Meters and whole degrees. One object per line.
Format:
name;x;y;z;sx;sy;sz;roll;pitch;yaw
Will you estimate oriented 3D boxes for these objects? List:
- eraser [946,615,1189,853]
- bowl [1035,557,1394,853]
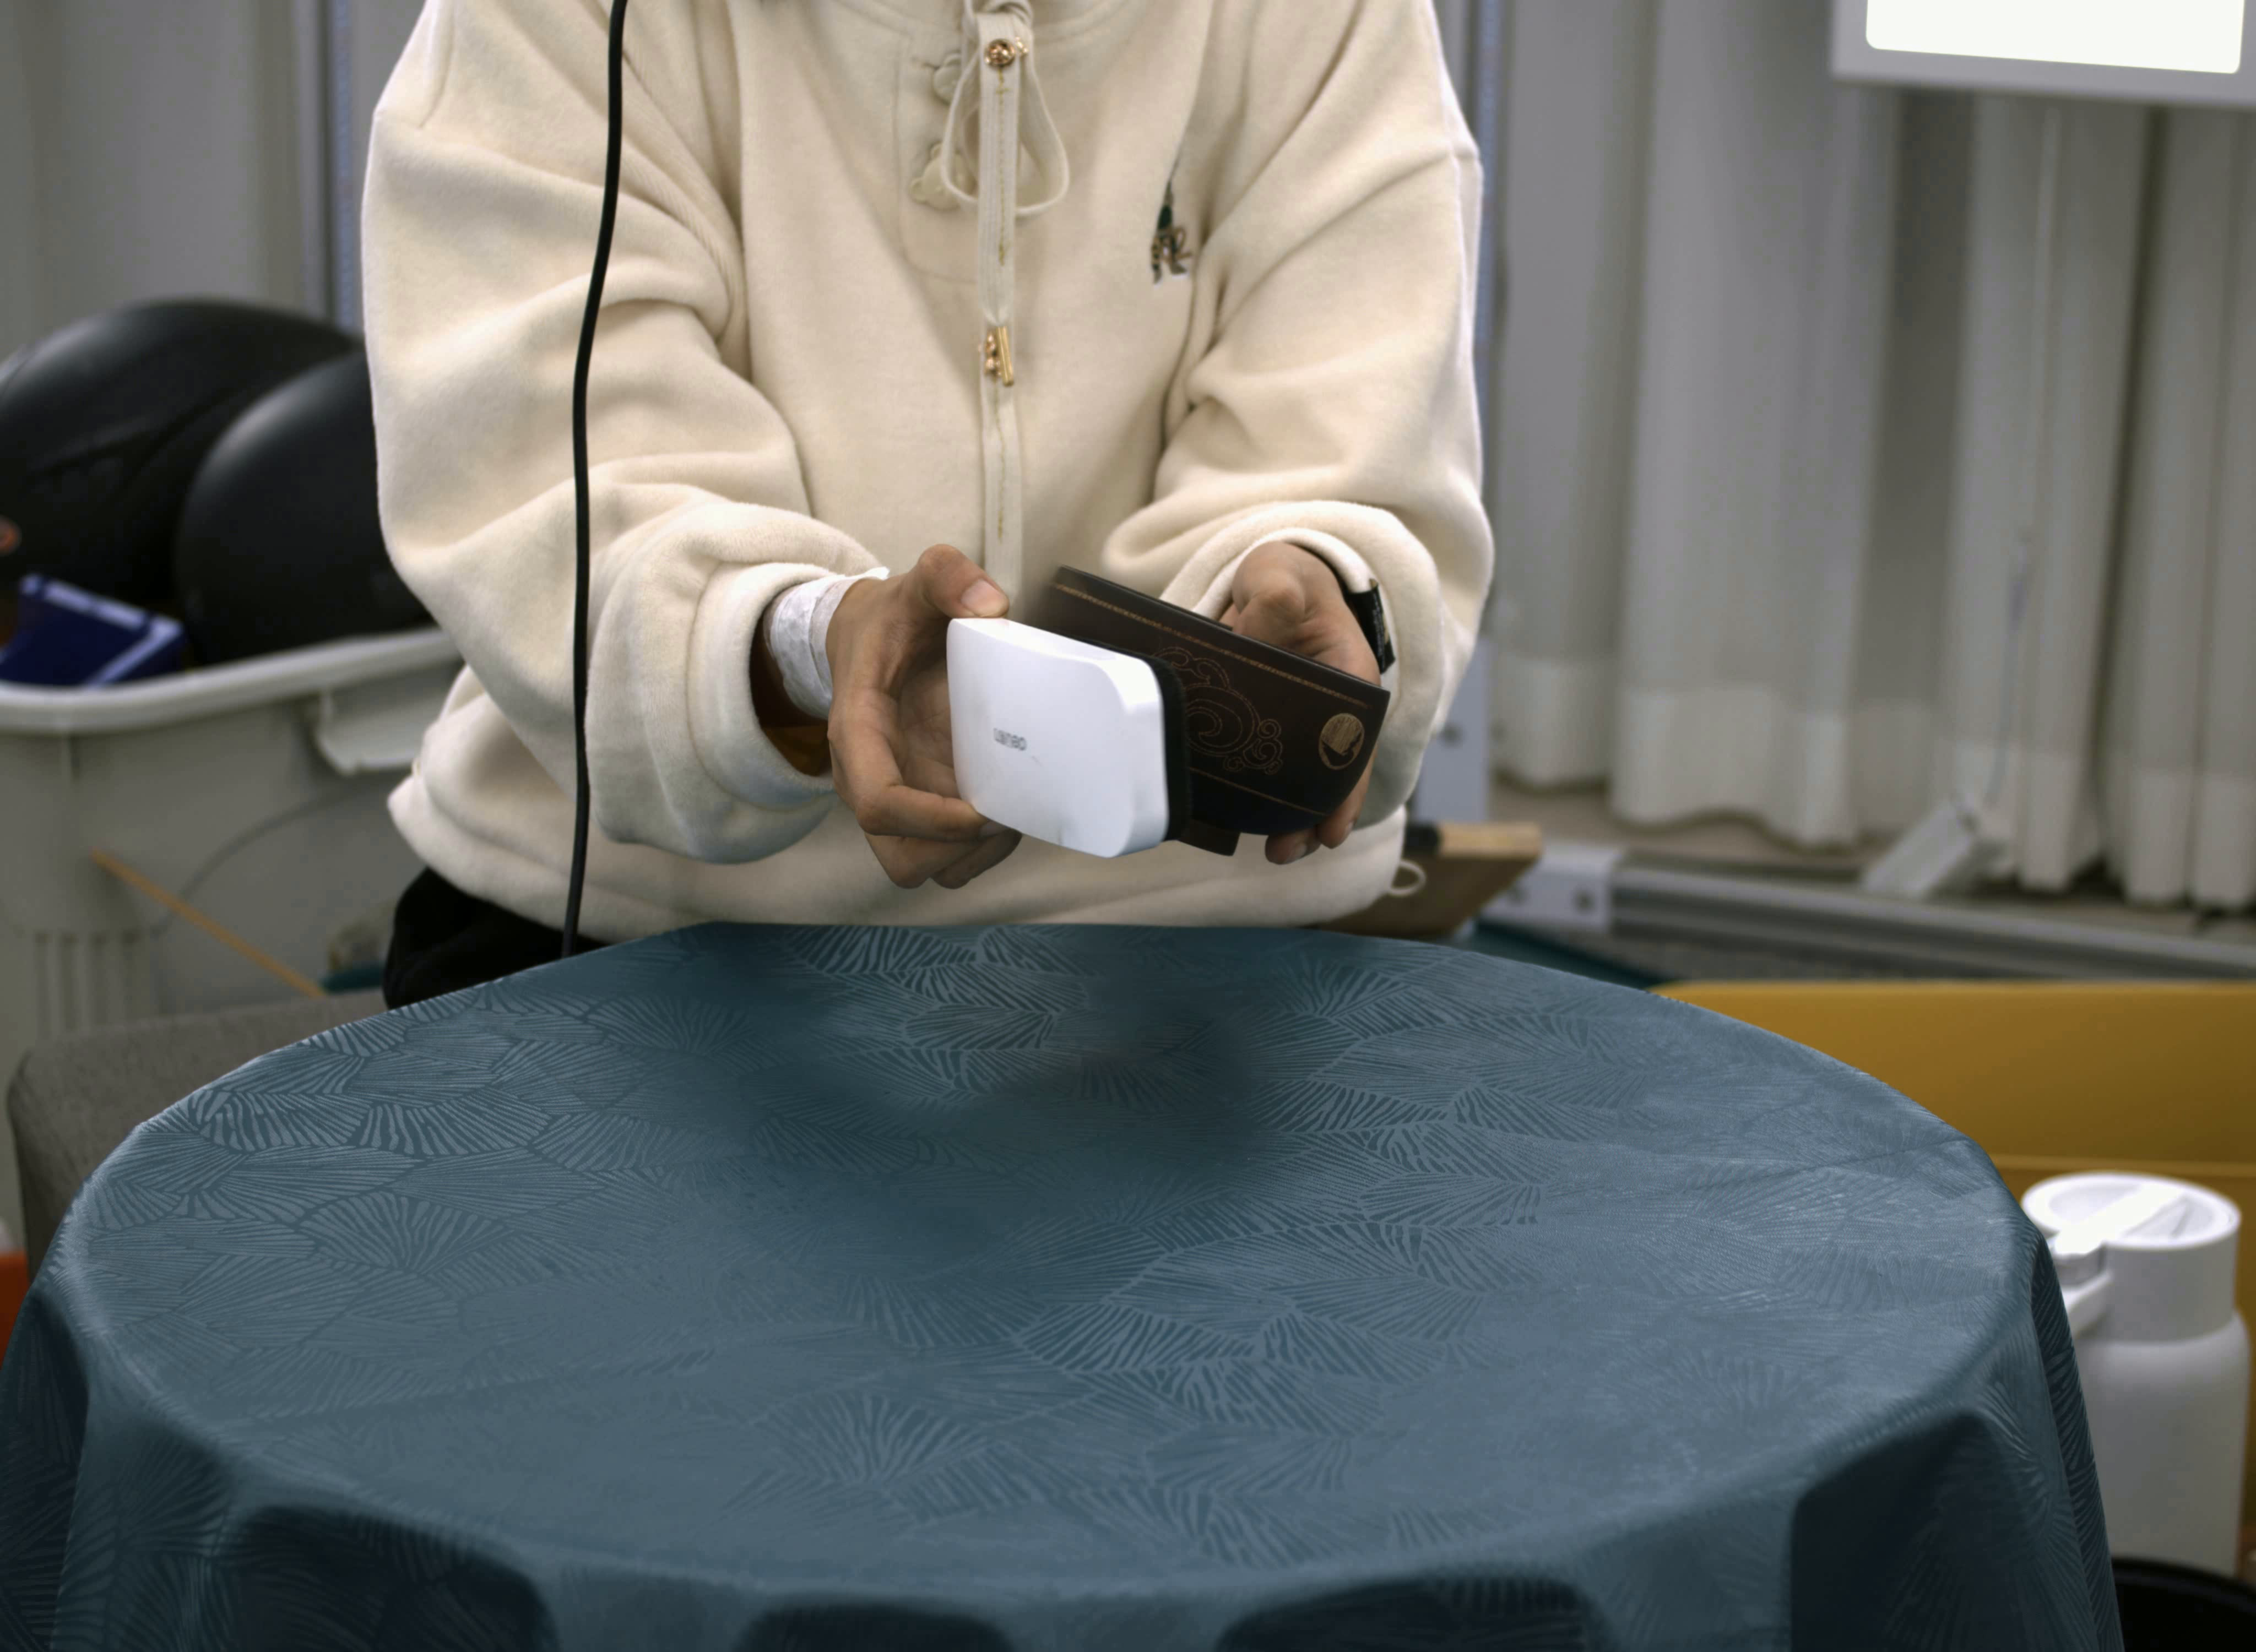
eraser;-0.023;-0.031;1.621;0.034;0.064;0.130;-8;13;-26
bowl;0.020;-0.033;1.692;0.118;0.070;0.118;23;1;0
